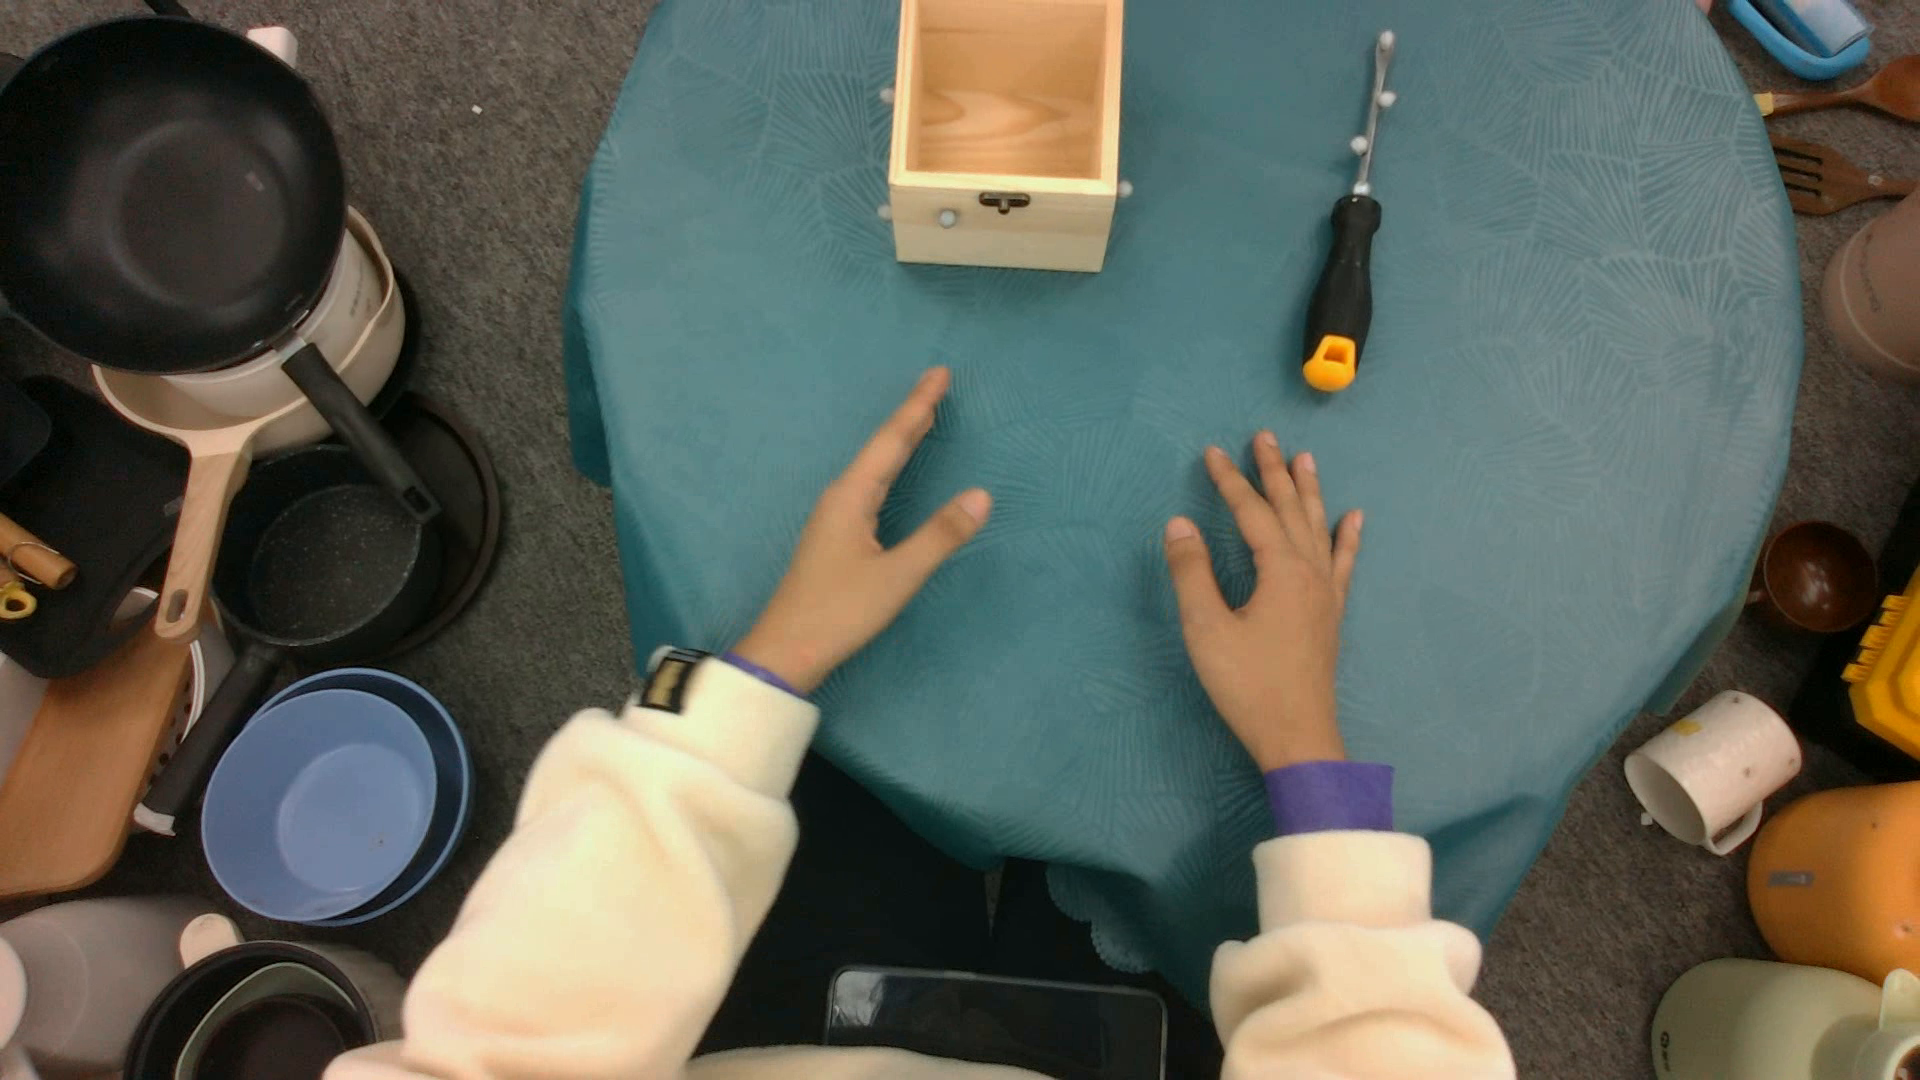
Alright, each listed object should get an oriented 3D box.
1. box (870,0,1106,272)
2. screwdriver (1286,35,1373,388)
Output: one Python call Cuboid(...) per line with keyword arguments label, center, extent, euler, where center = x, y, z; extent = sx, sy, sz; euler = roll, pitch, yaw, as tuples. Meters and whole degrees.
Cuboid(label="box", center=(0.014, -0.216, 0.606), extent=(0.102, 0.184, 0.134), euler=(3, 74, 0))
Cuboid(label="screwdriver", center=(0.190, -0.165, 0.677), extent=(0.031, 0.031, 0.198), euler=(15, 74, 4))
